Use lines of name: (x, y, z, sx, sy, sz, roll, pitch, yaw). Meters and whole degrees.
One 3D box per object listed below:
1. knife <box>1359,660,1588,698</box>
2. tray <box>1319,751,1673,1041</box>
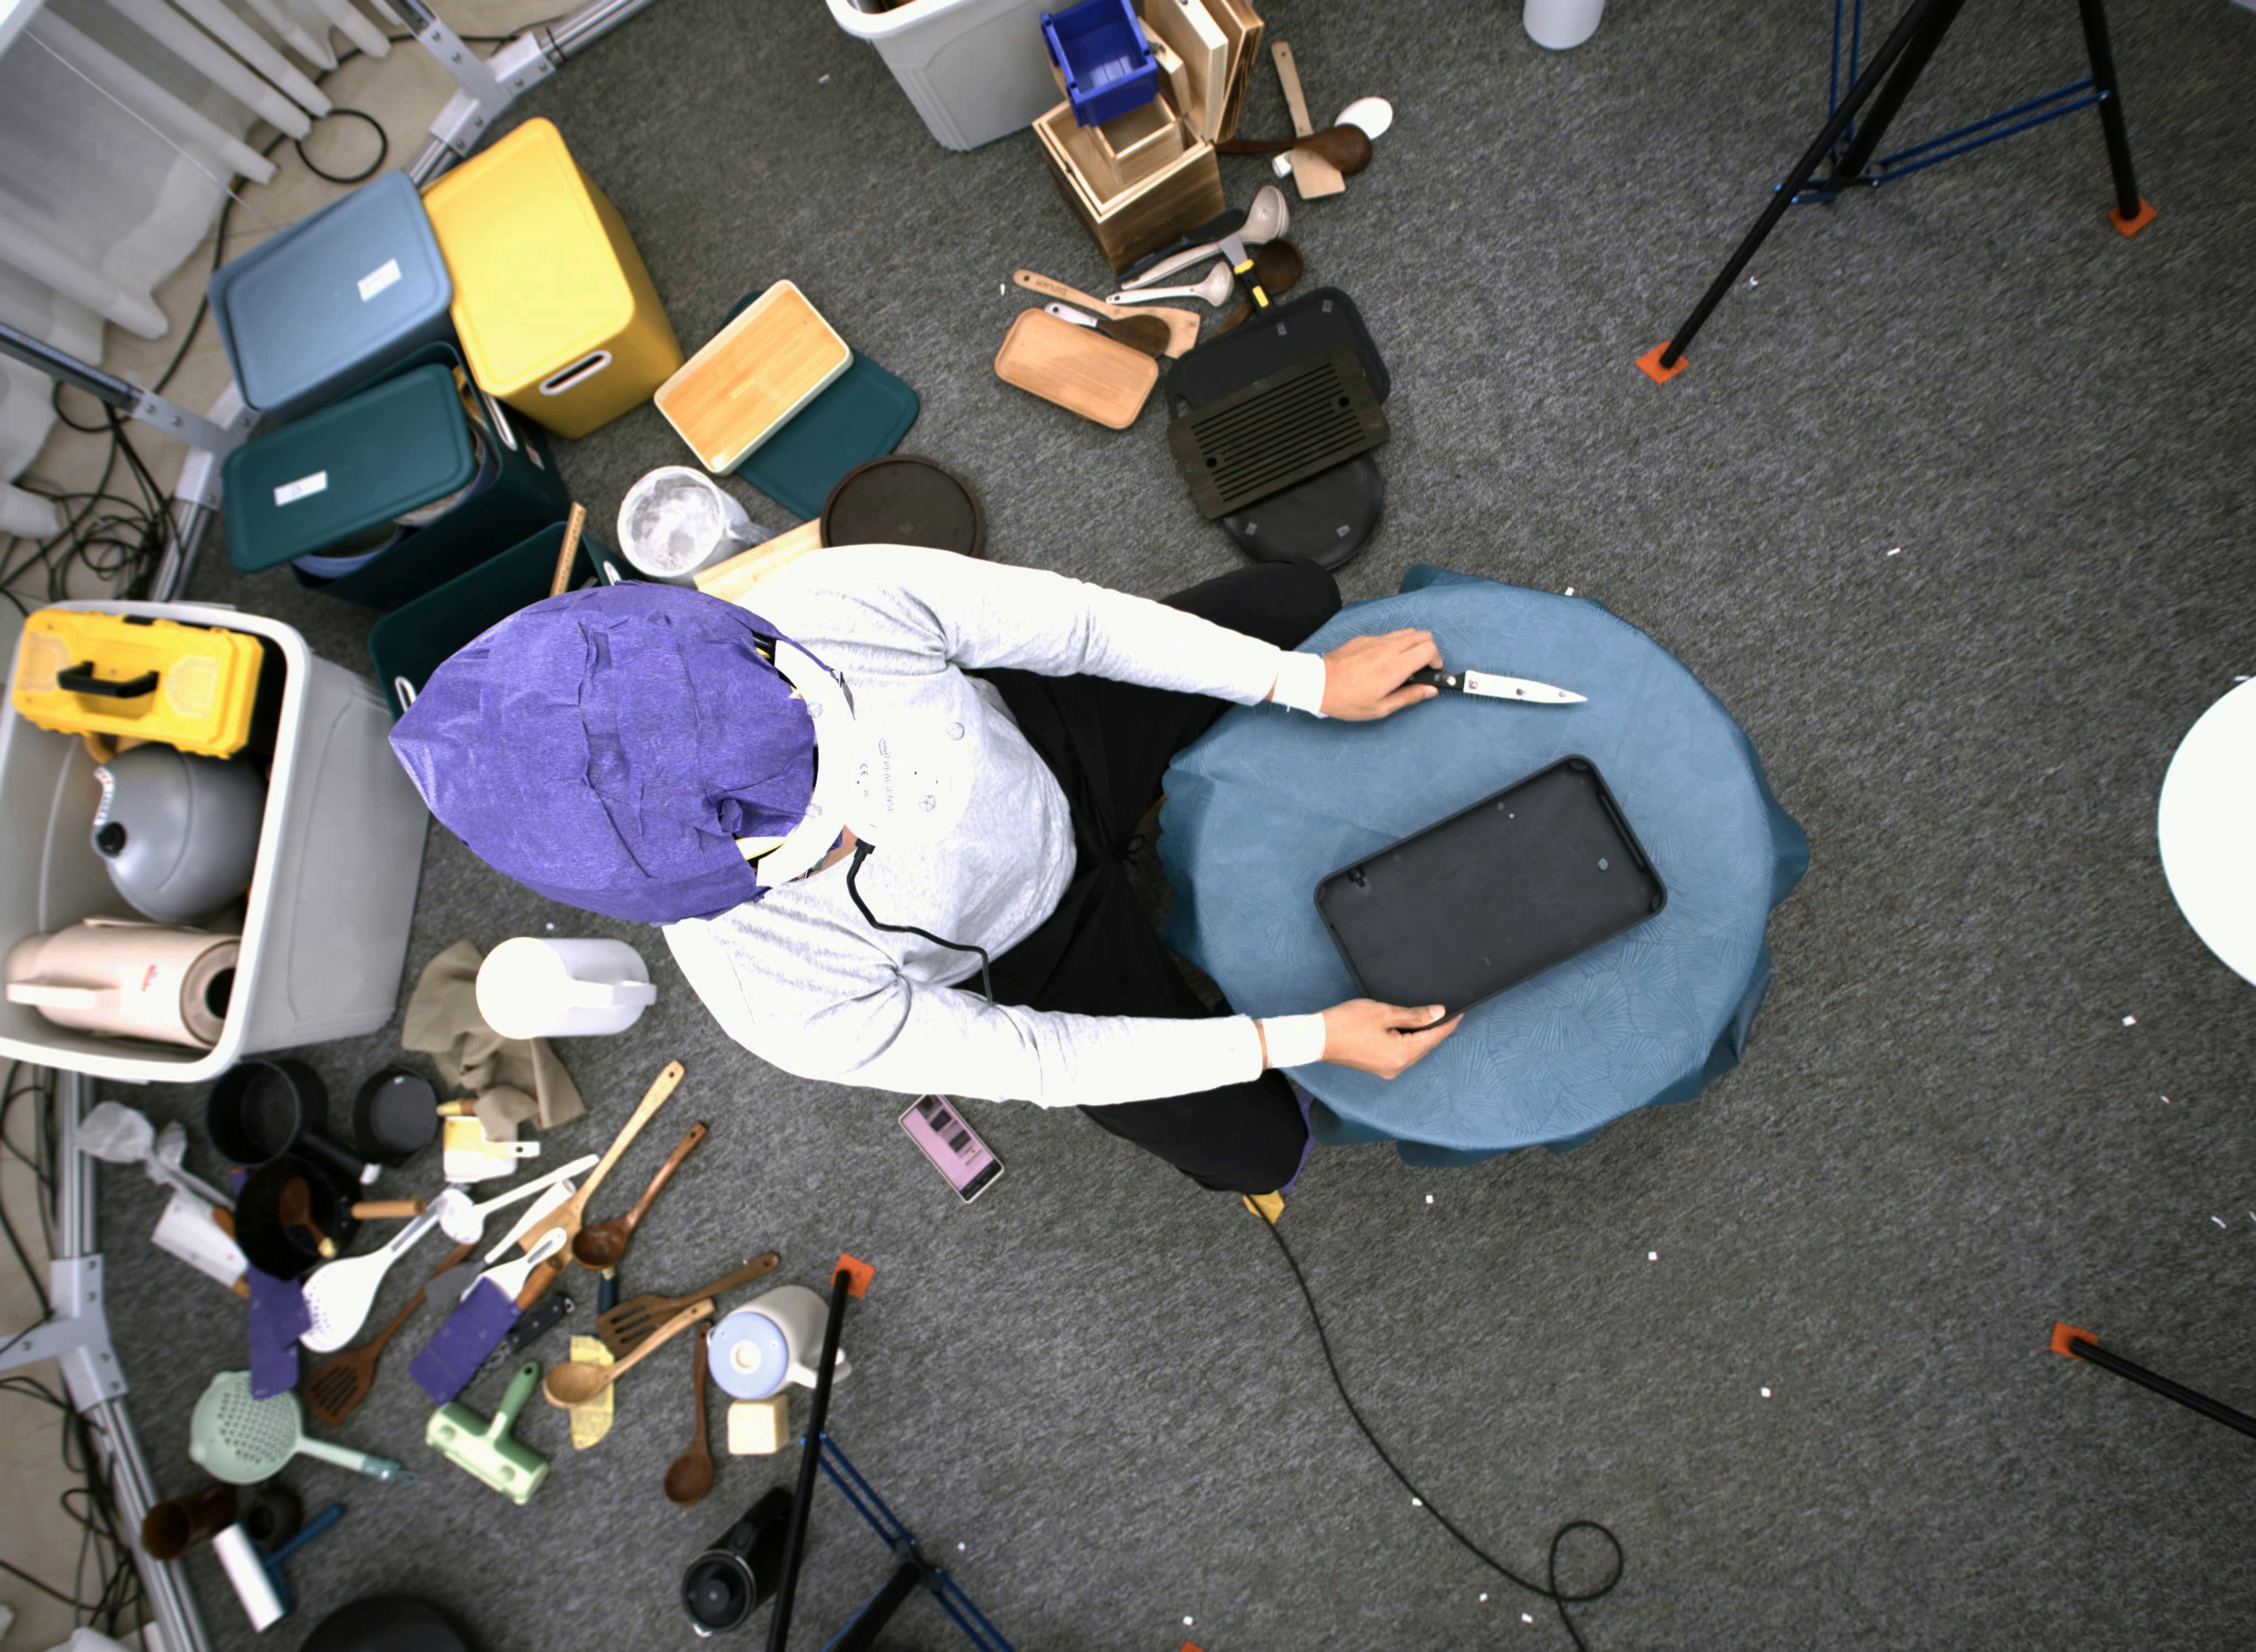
knife: (0.360, -0.153, 1.435, 0.239, 0.016, 0.024, 7, 89, 9)
tray: (0.370, 0.070, 1.398, 0.319, 0.037, 0.182, -29, 78, 6)
